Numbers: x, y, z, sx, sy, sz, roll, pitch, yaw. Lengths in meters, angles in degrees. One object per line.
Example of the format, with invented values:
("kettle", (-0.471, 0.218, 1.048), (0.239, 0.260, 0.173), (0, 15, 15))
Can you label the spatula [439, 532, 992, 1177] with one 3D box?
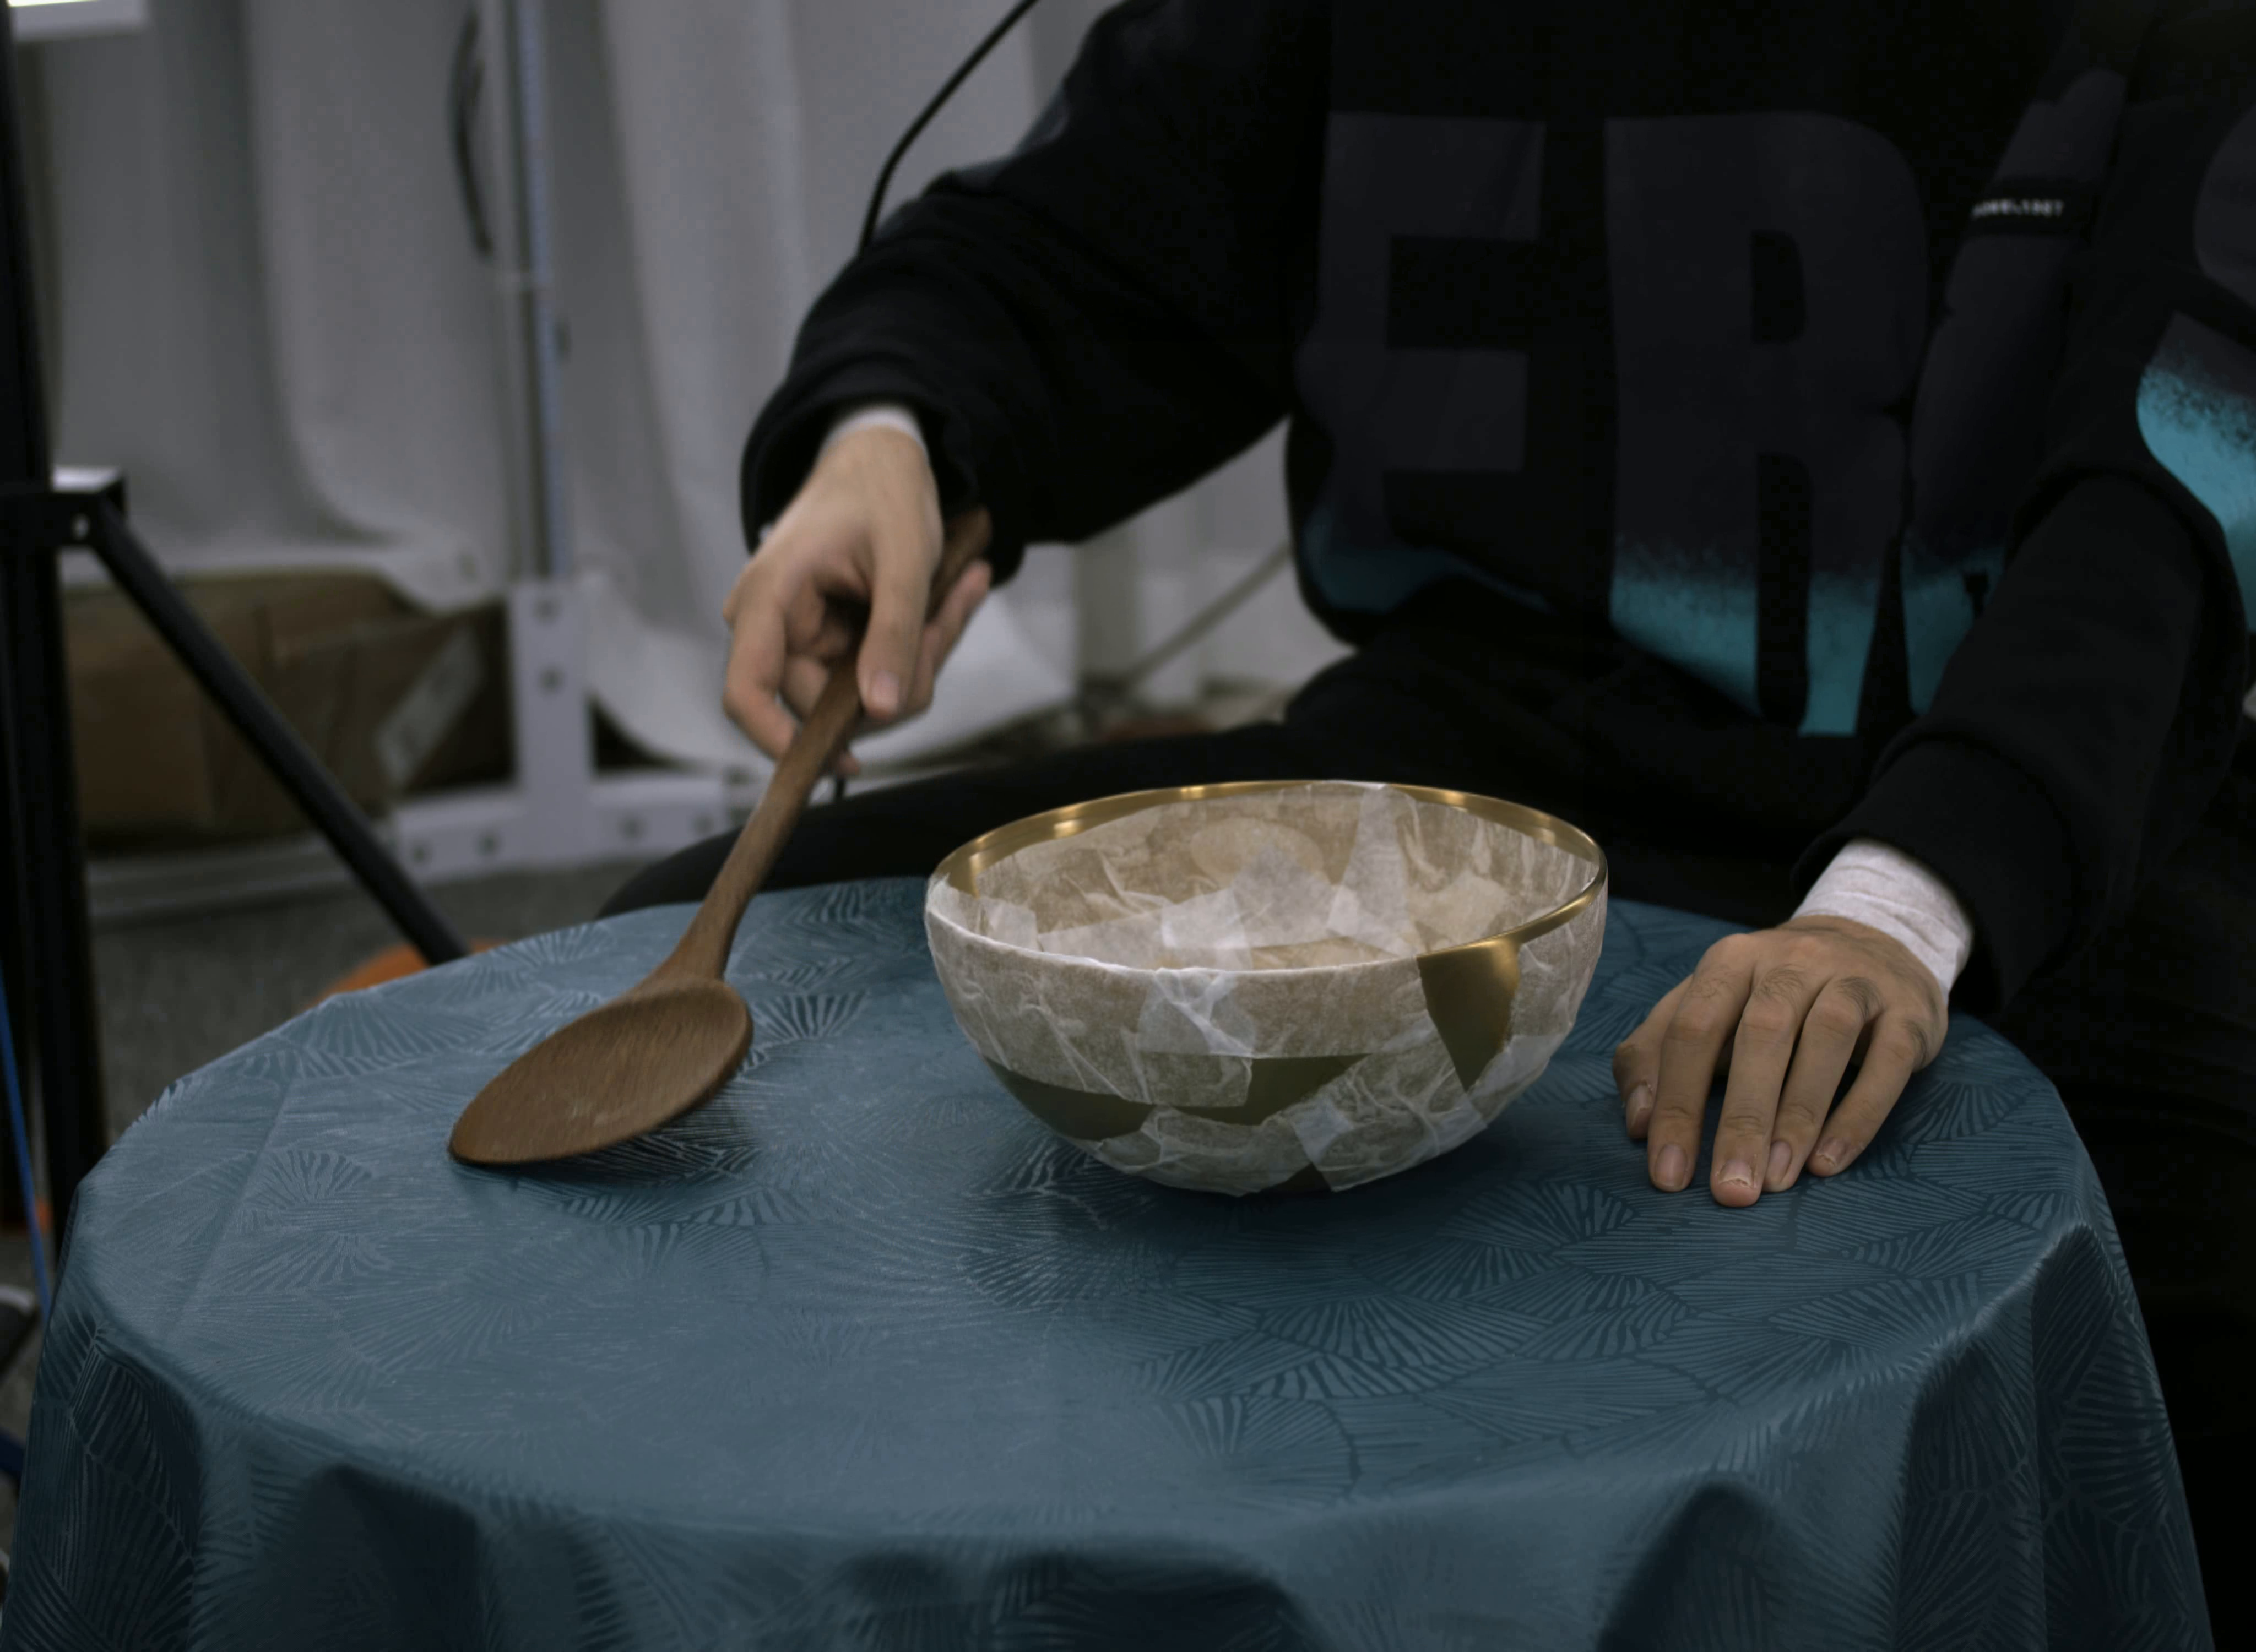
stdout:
("spatula", (-0.114, 0.000, 1.739), (0.097, 0.015, 0.384), (-9, 30, 26))

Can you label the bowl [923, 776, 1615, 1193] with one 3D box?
("bowl", (0.045, 0.054, 1.568), (0.213, 0.094, 0.216), (-4, 14, 0))
